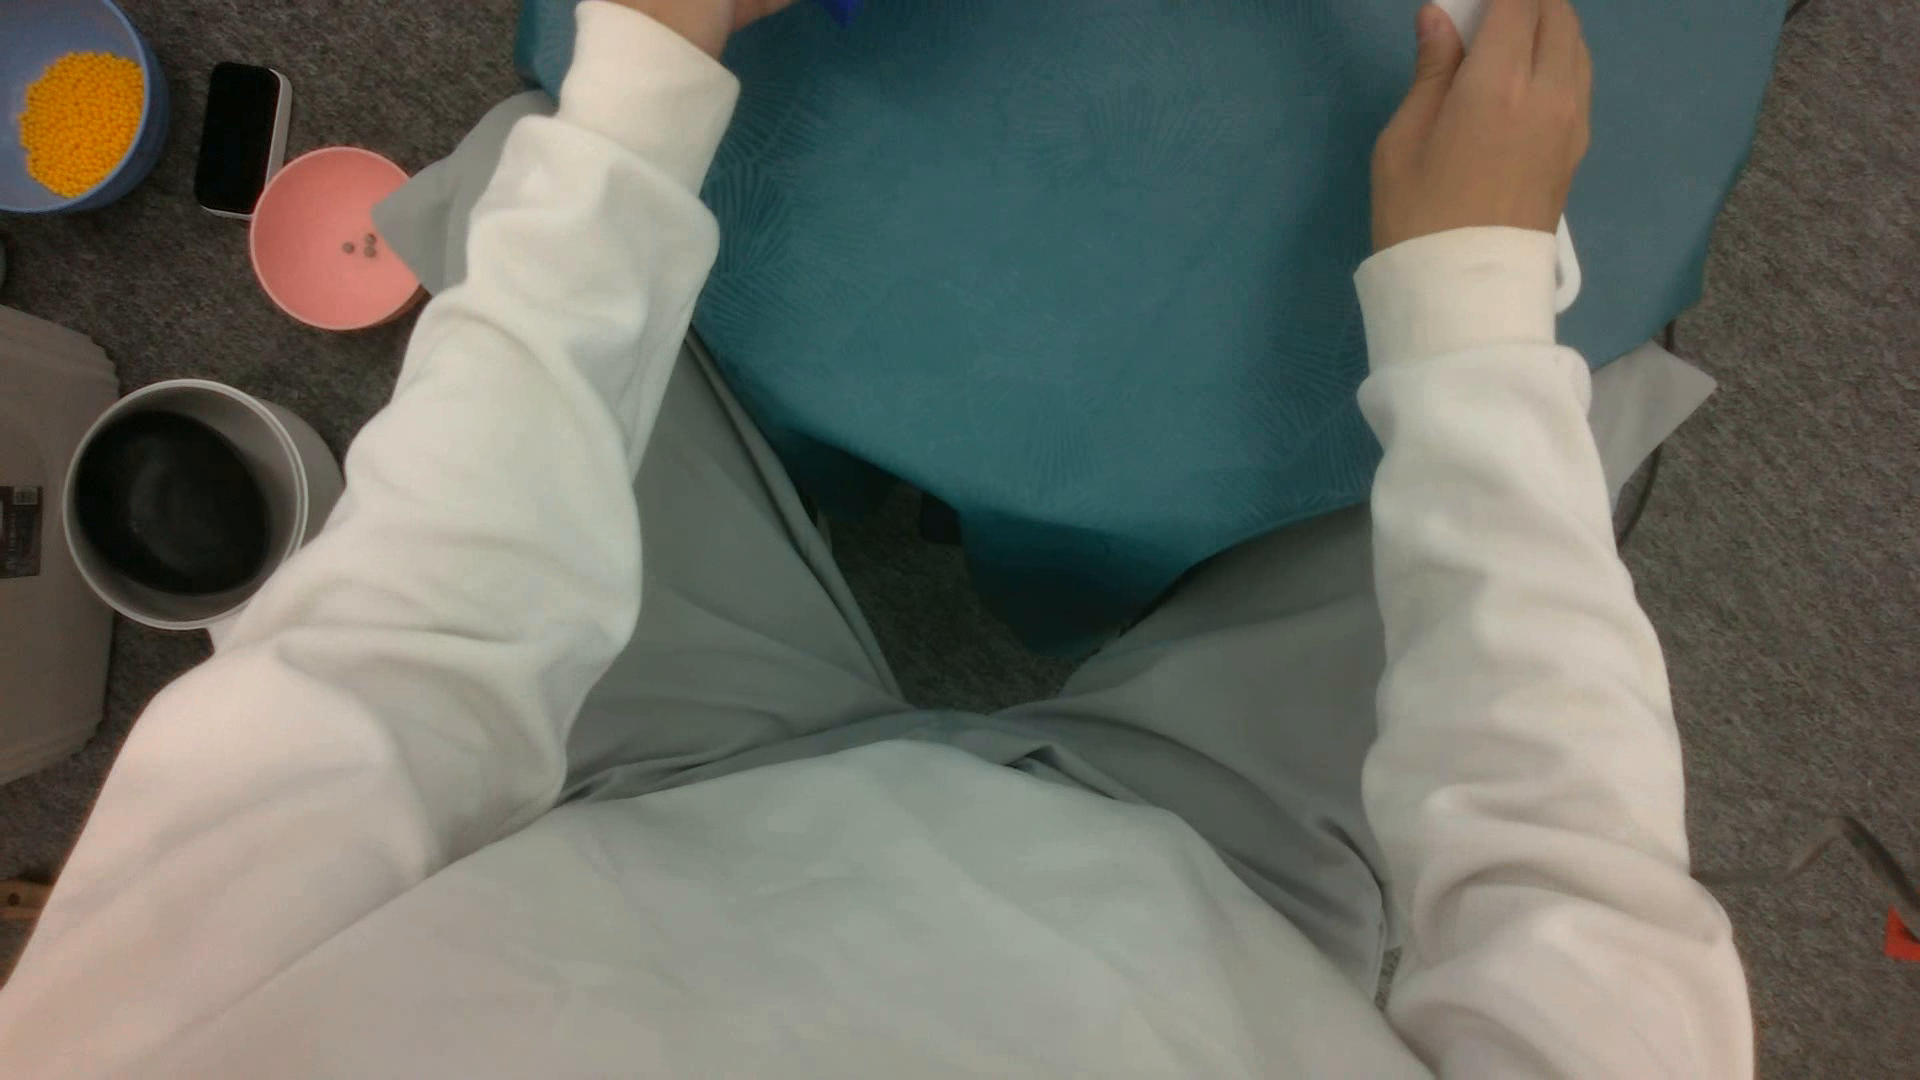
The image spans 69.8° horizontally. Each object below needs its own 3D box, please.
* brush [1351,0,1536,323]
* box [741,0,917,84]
[{"bbox_3d":[0.187,-0.216,0.593,0.068,0.056,0.266,-26,113,7],"label":"brush"},{"bbox_3d":[-0.039,-0.302,0.580,0.179,0.082,0.124,-44,95,4],"label":"box"}]
